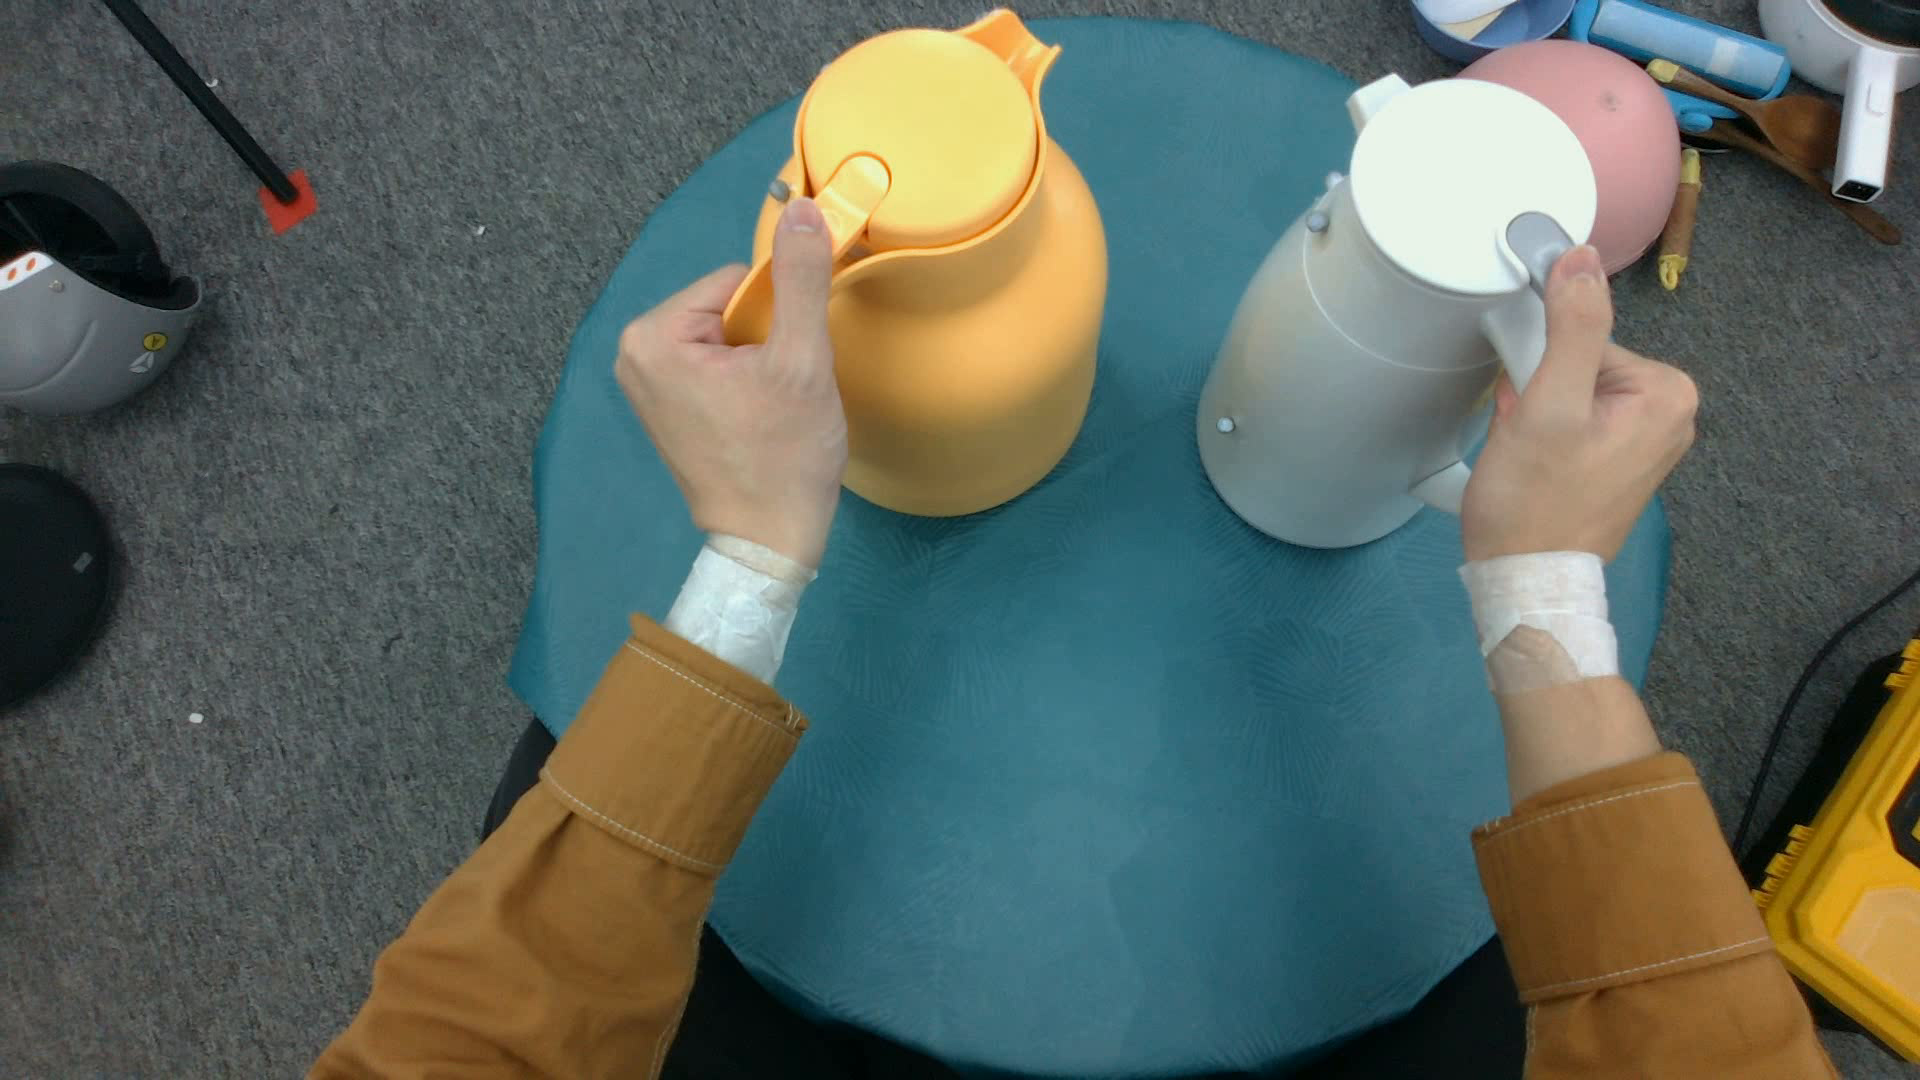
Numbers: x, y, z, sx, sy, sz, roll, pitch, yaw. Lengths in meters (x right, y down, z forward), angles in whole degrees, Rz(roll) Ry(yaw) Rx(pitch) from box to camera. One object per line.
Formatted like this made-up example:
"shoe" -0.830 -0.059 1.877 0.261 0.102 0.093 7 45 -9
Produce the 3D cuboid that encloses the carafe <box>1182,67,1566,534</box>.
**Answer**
"carafe" 0.195 -0.088 0.627 0.133 0.248 0.168 -27 74 -9

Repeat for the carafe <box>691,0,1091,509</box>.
"carafe" -0.035 -0.111 0.631 0.163 0.259 0.203 40 76 13
